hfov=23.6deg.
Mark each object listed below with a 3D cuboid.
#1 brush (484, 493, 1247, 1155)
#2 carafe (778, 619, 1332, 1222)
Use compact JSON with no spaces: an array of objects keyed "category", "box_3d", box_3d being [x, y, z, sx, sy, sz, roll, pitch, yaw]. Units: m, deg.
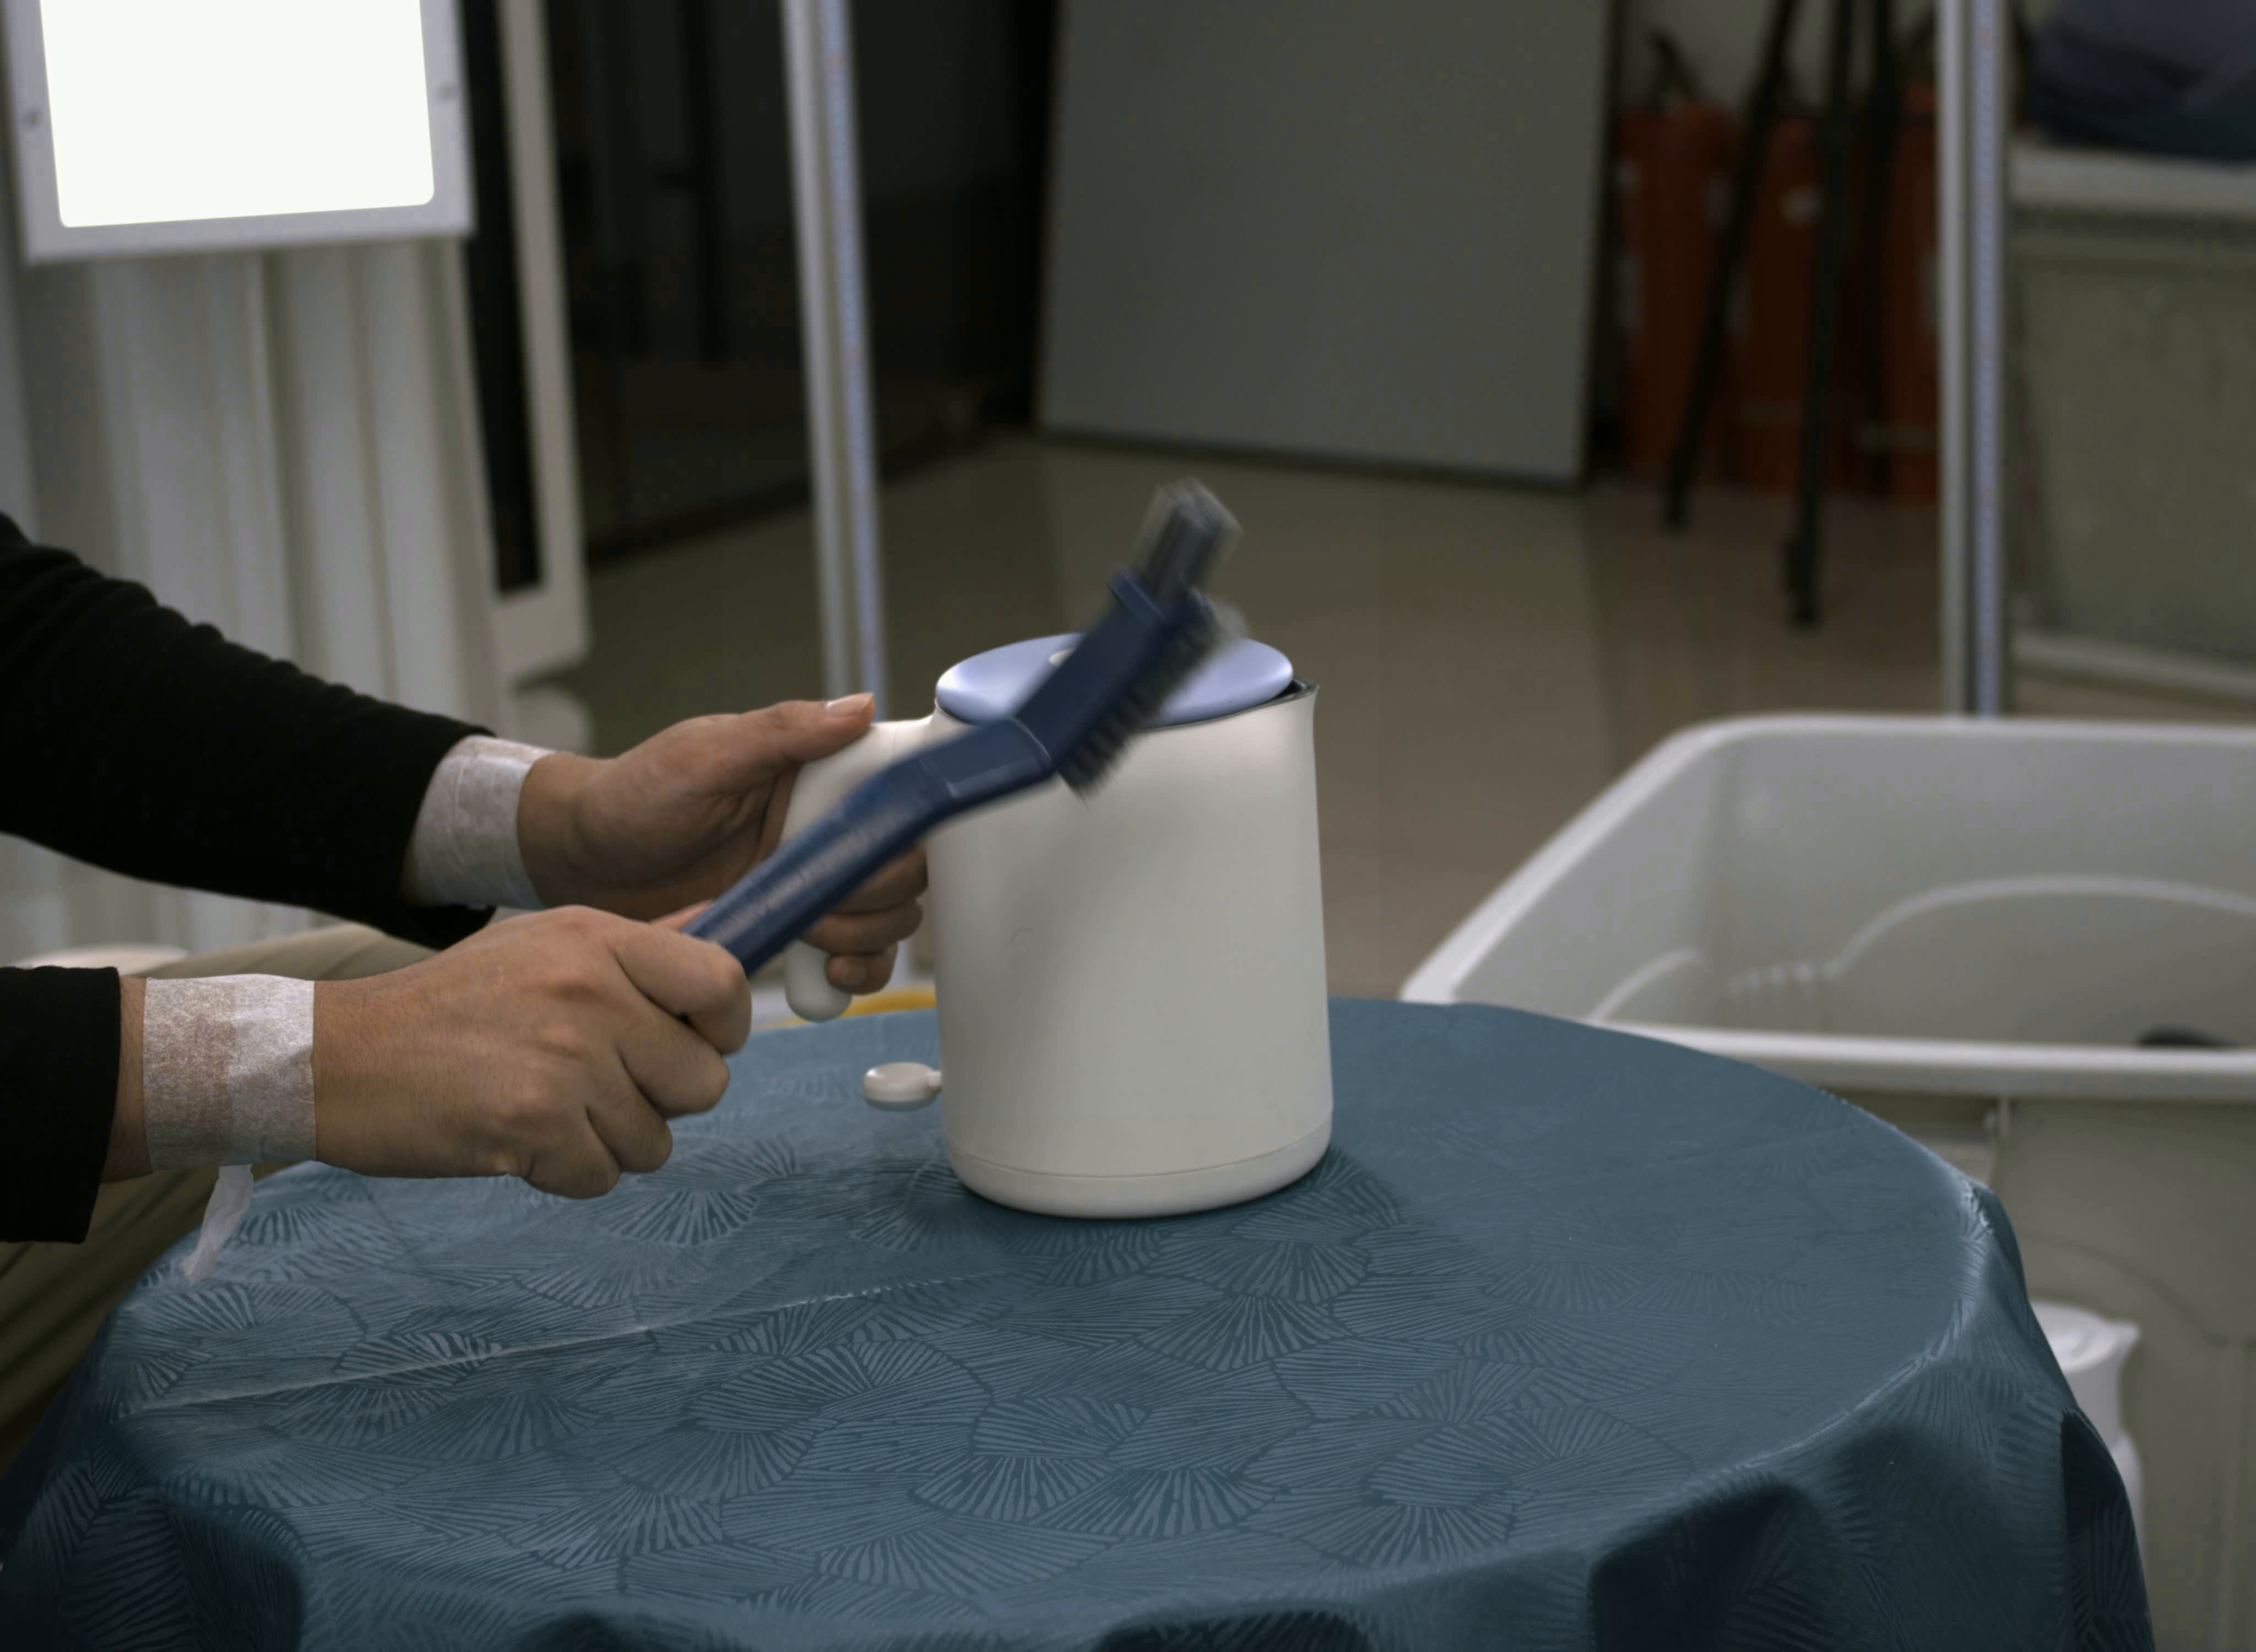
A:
[{"category":"brush","box_3d":[-0.079,0.000,1.627,0.270,0.095,0.034,-33,58,-10]},{"category":"carafe","box_3d":[-0.024,0.031,1.783,0.190,0.184,0.131,-2,13,12]}]
